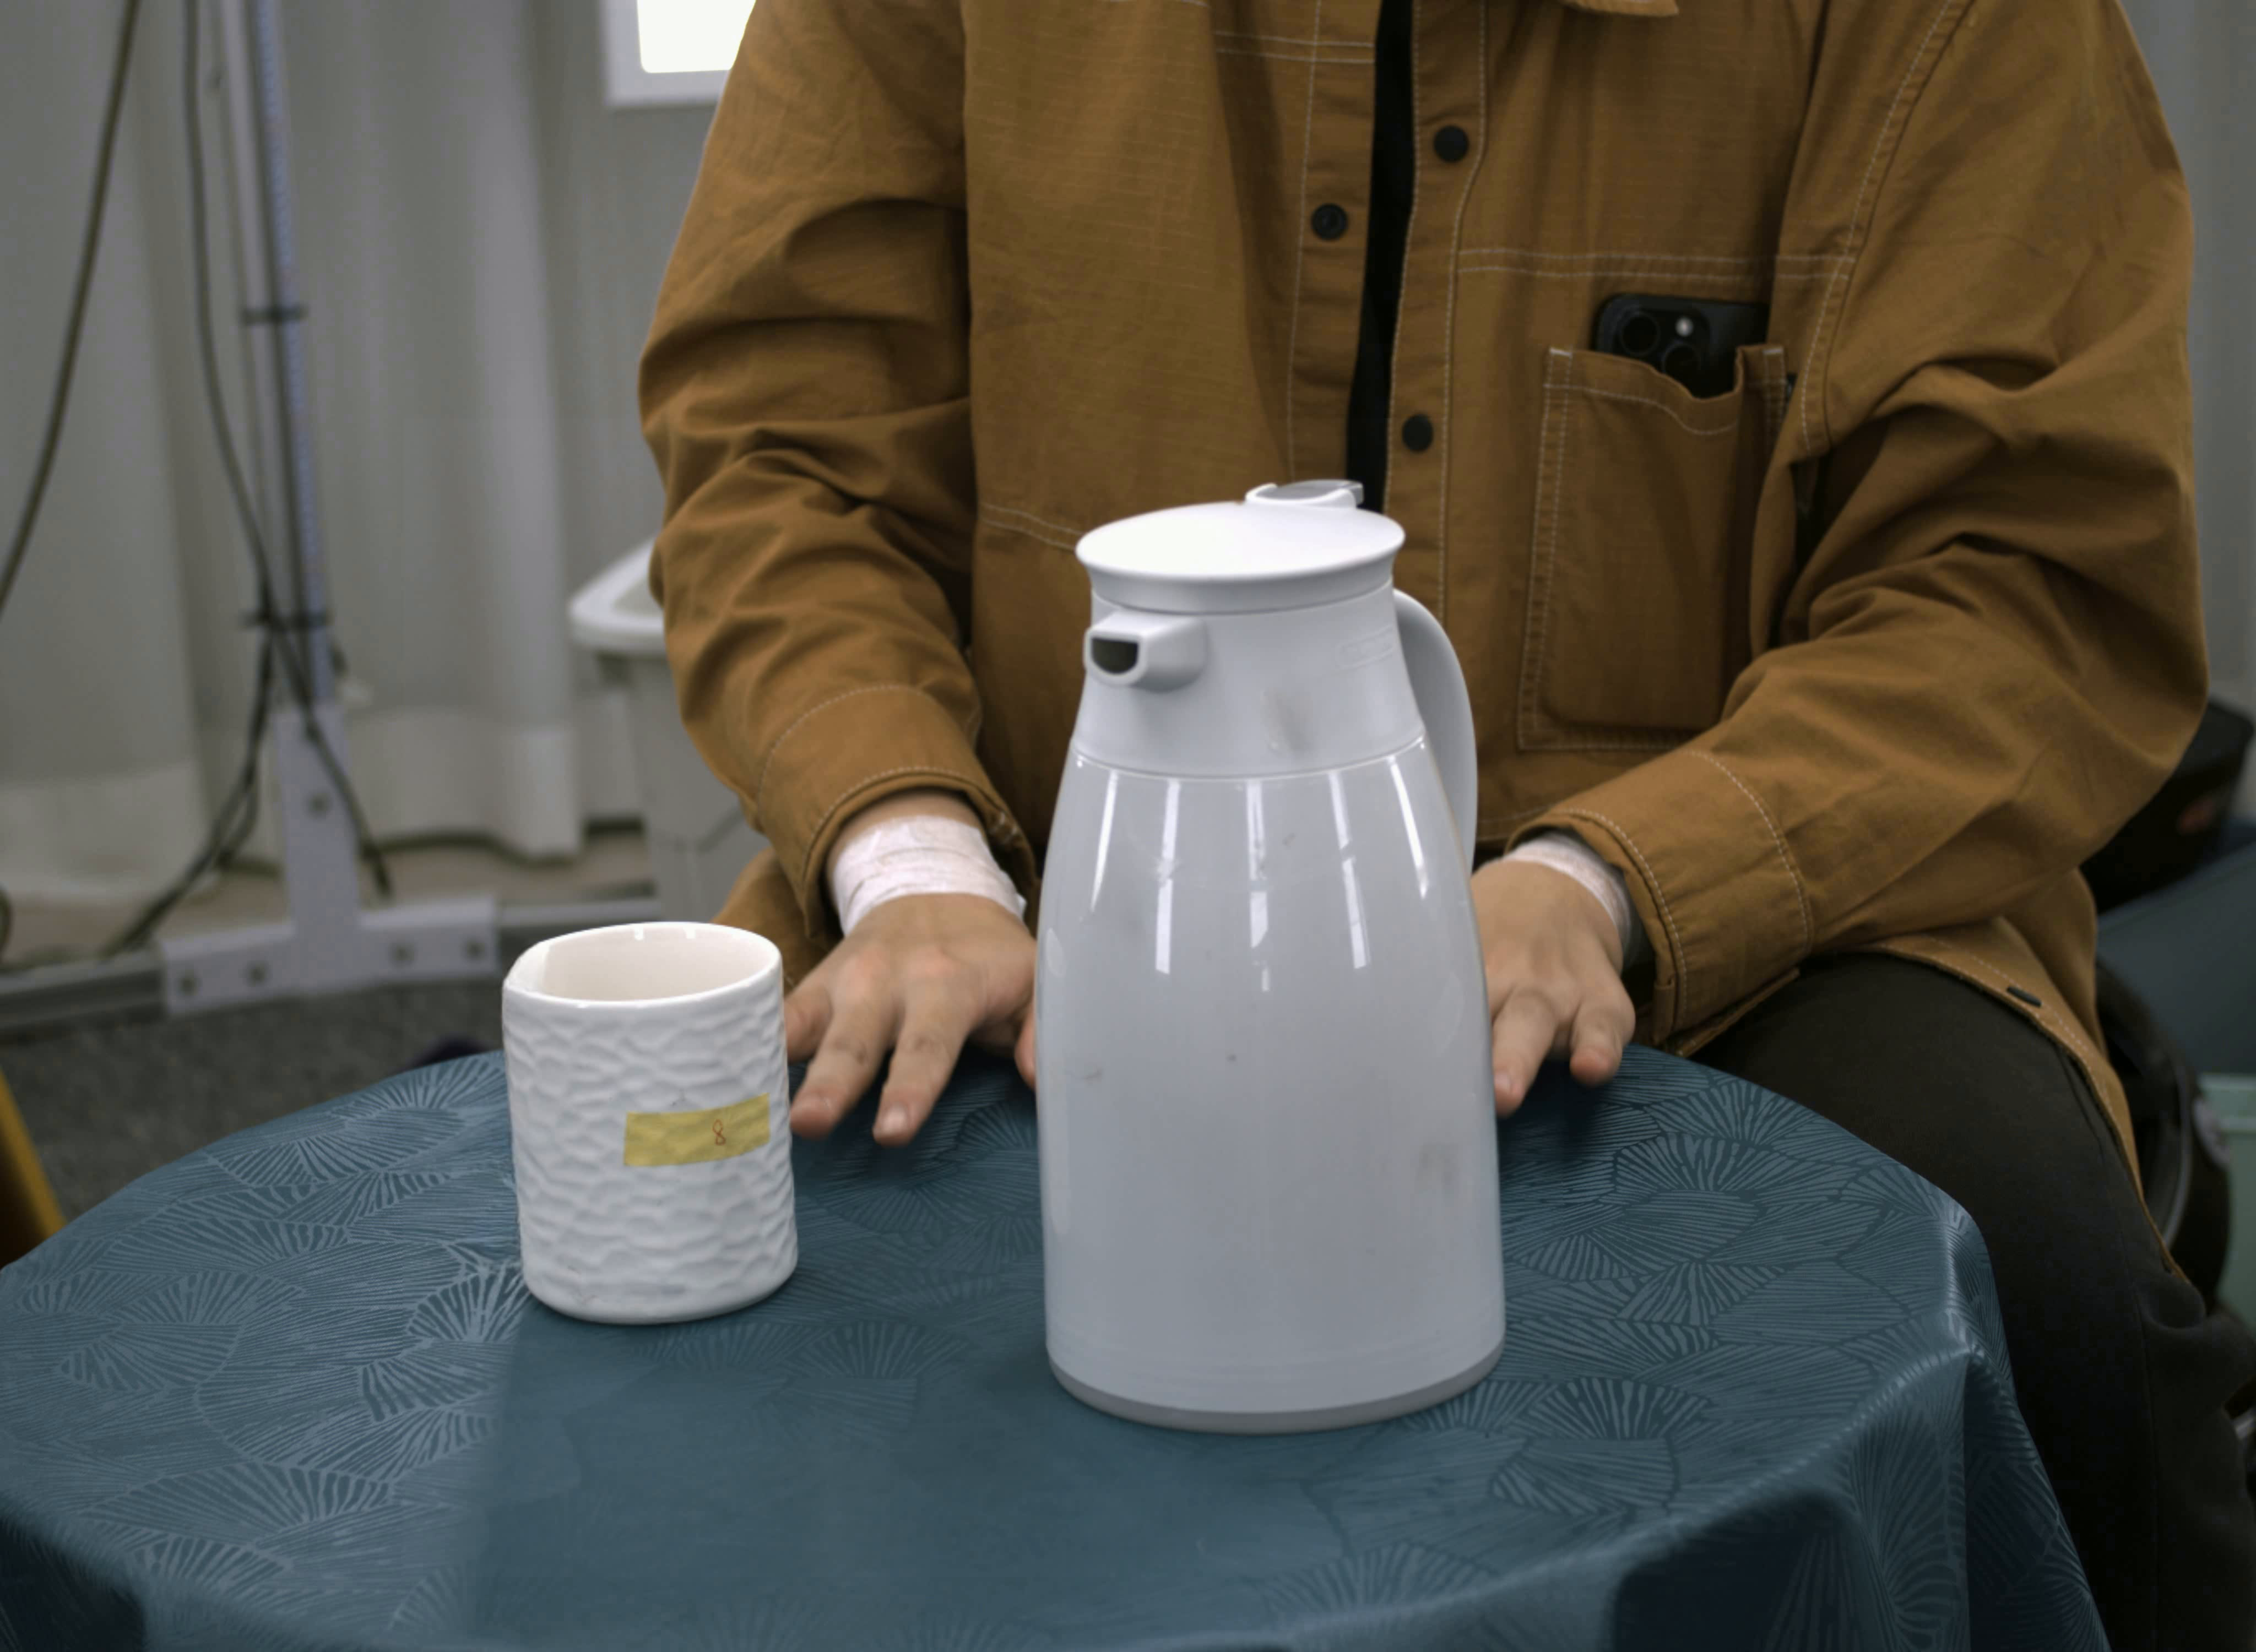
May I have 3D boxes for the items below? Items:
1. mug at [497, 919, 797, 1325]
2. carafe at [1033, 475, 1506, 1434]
[{"bbox_3d":[-0.145,0.085,1.656,0.084,0.101,0.119,-4,14,-6],"label":"mug"},{"bbox_3d":[0.046,0.027,1.555,0.133,0.248,0.167,5,16,33],"label":"carafe"}]
